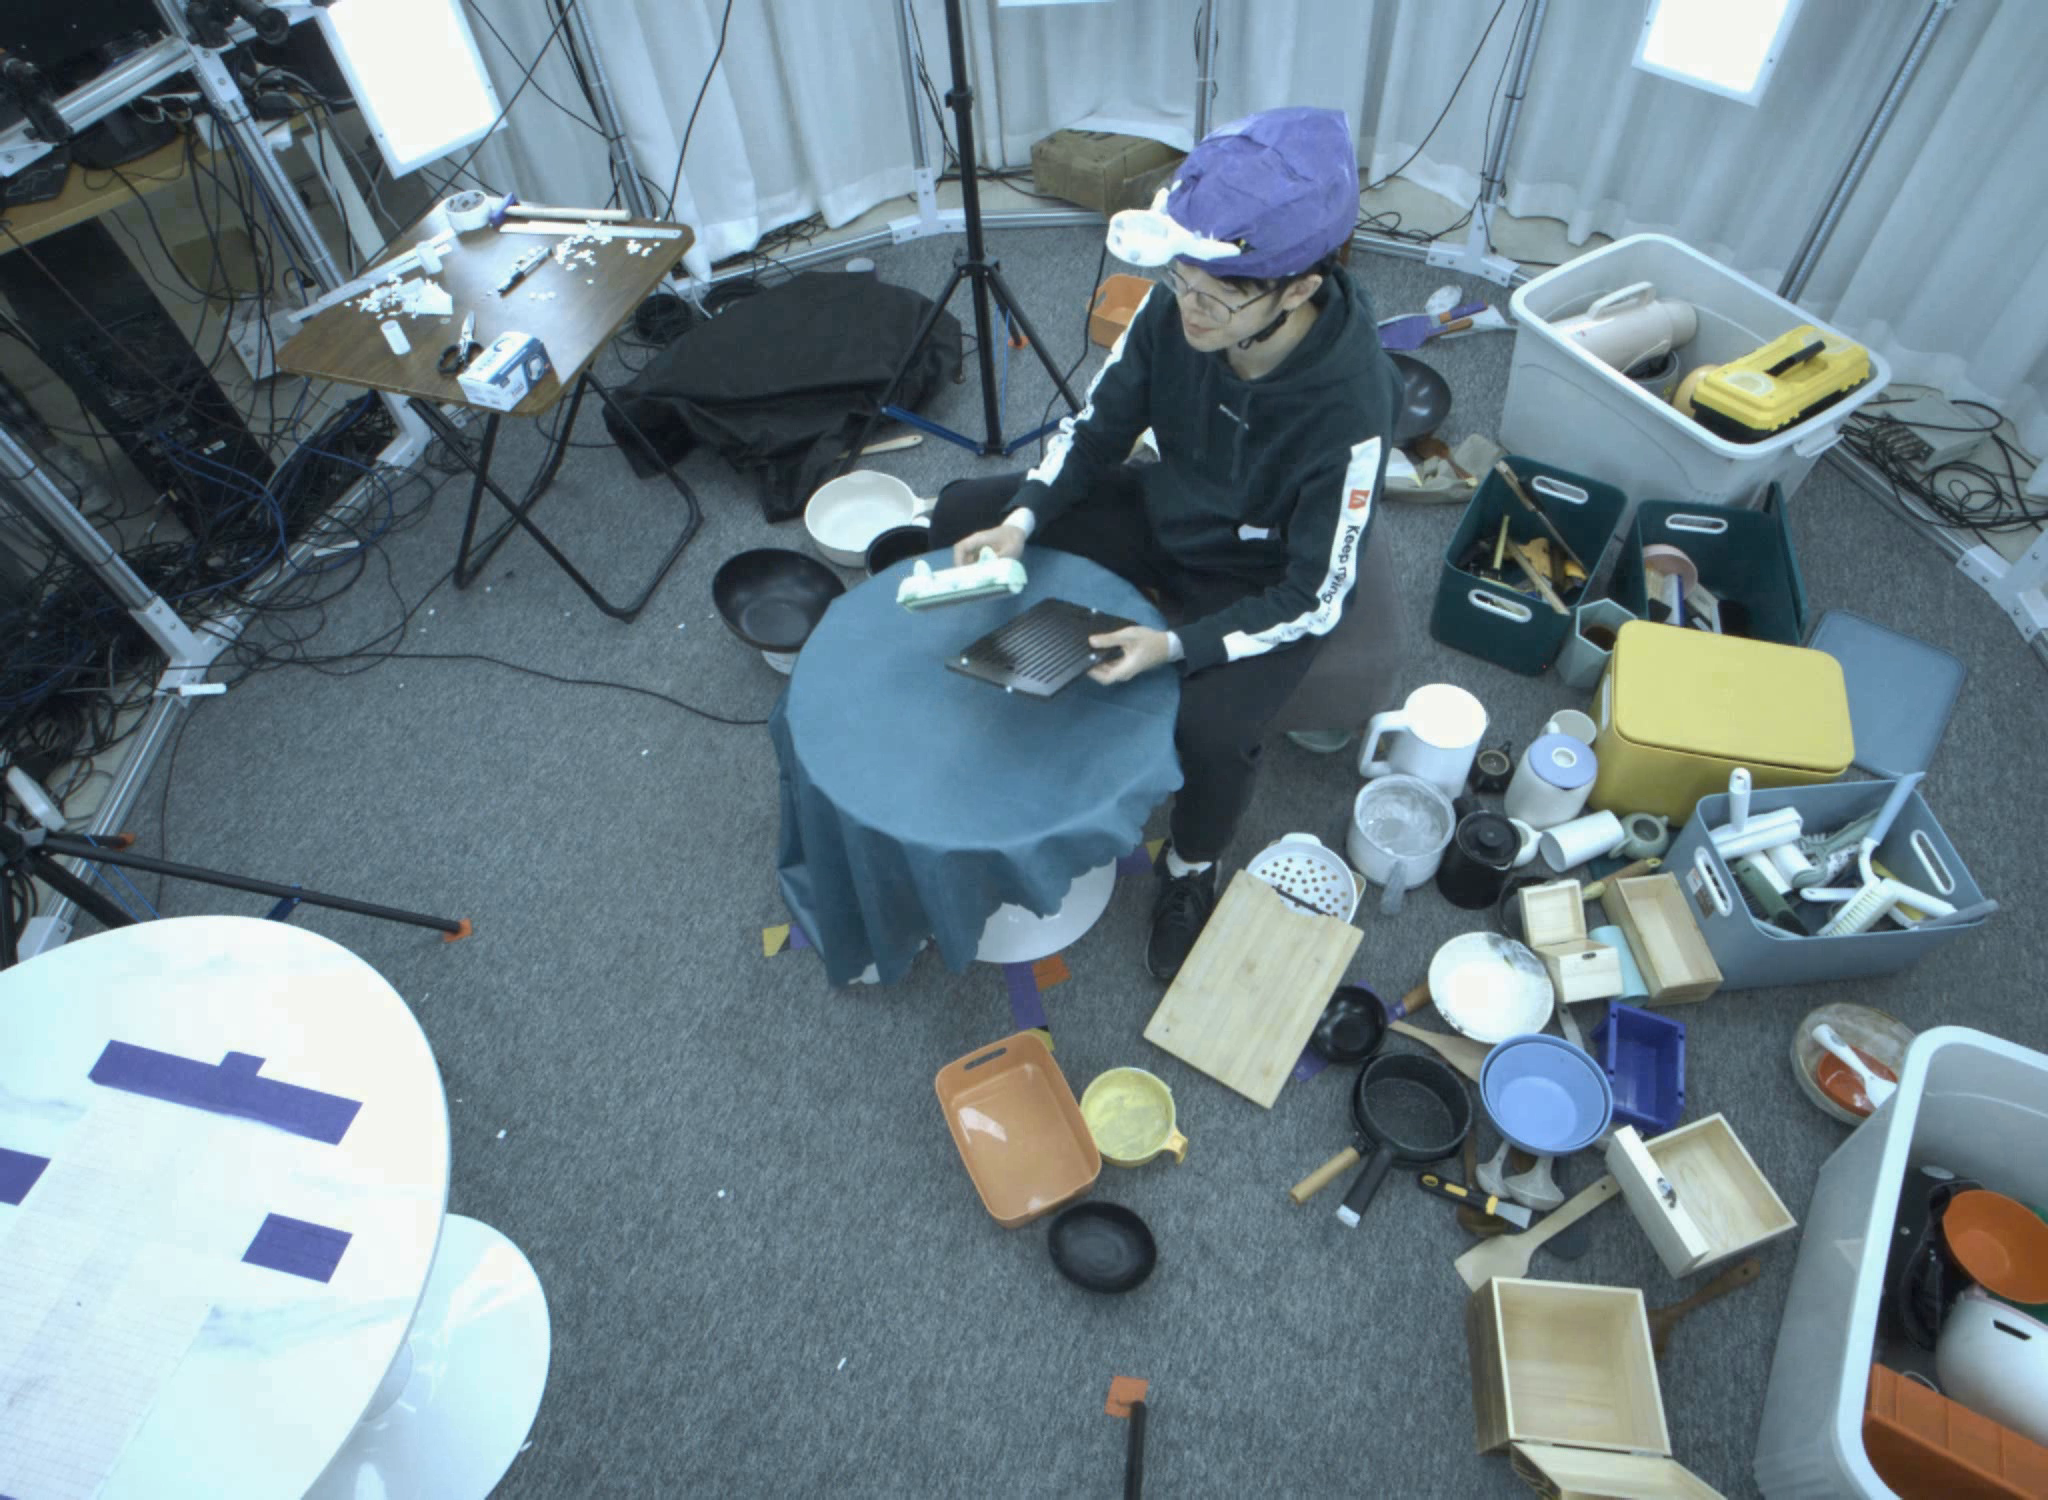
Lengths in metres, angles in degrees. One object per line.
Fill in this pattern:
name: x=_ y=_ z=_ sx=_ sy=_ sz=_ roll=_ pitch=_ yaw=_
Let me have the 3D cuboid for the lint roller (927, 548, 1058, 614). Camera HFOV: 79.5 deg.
lint roller: x=-0.029 y=-0.276 z=1.830 sx=0.195 sy=0.083 sz=0.184 roll=-4 pitch=34 yaw=30

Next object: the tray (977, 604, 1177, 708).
tray: x=0.081 y=-0.138 z=1.760 sx=0.167 sy=0.019 sz=0.309 roll=21 pitch=32 yaw=25
